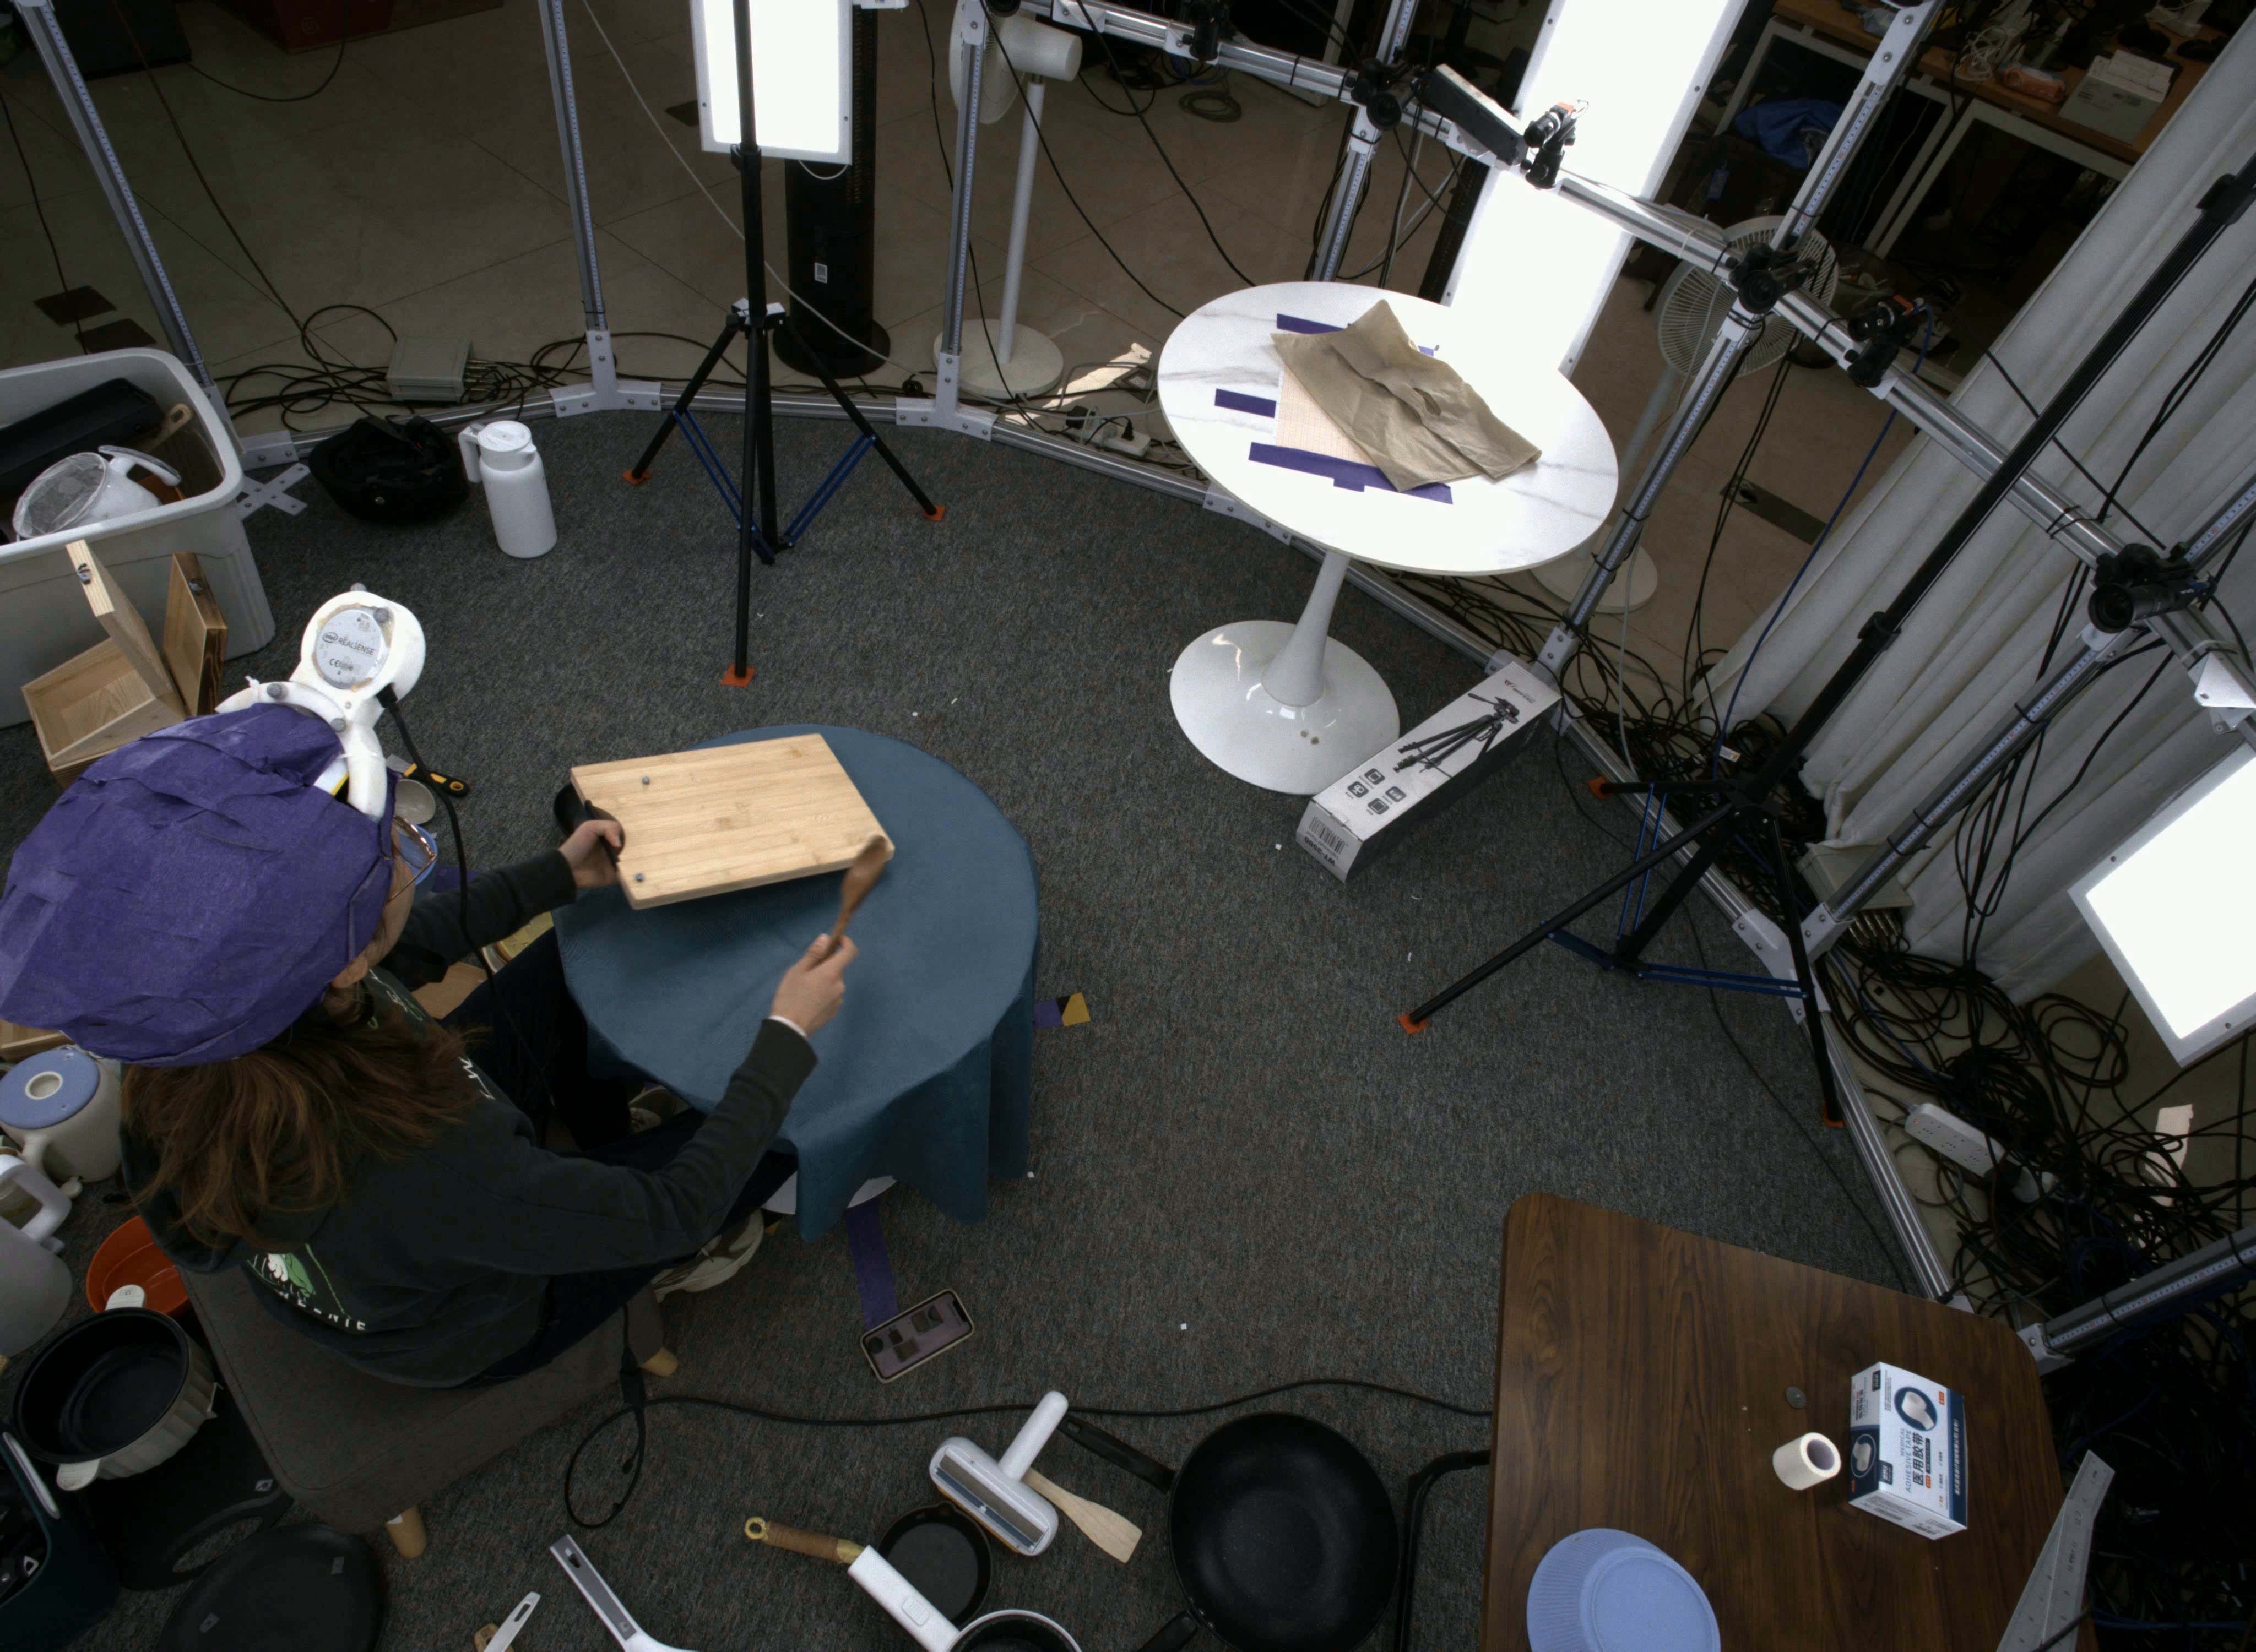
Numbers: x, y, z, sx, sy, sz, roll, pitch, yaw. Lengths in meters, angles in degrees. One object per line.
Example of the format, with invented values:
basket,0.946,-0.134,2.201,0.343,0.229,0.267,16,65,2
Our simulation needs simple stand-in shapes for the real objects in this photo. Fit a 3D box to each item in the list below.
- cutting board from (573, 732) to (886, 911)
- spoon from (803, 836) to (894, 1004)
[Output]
cutting board,-0.505,-0.016,1.642,0.353,0.024,0.243,-14,51,-39
spoon,-0.321,0.104,1.489,0.018,0.073,0.214,41,57,-33
